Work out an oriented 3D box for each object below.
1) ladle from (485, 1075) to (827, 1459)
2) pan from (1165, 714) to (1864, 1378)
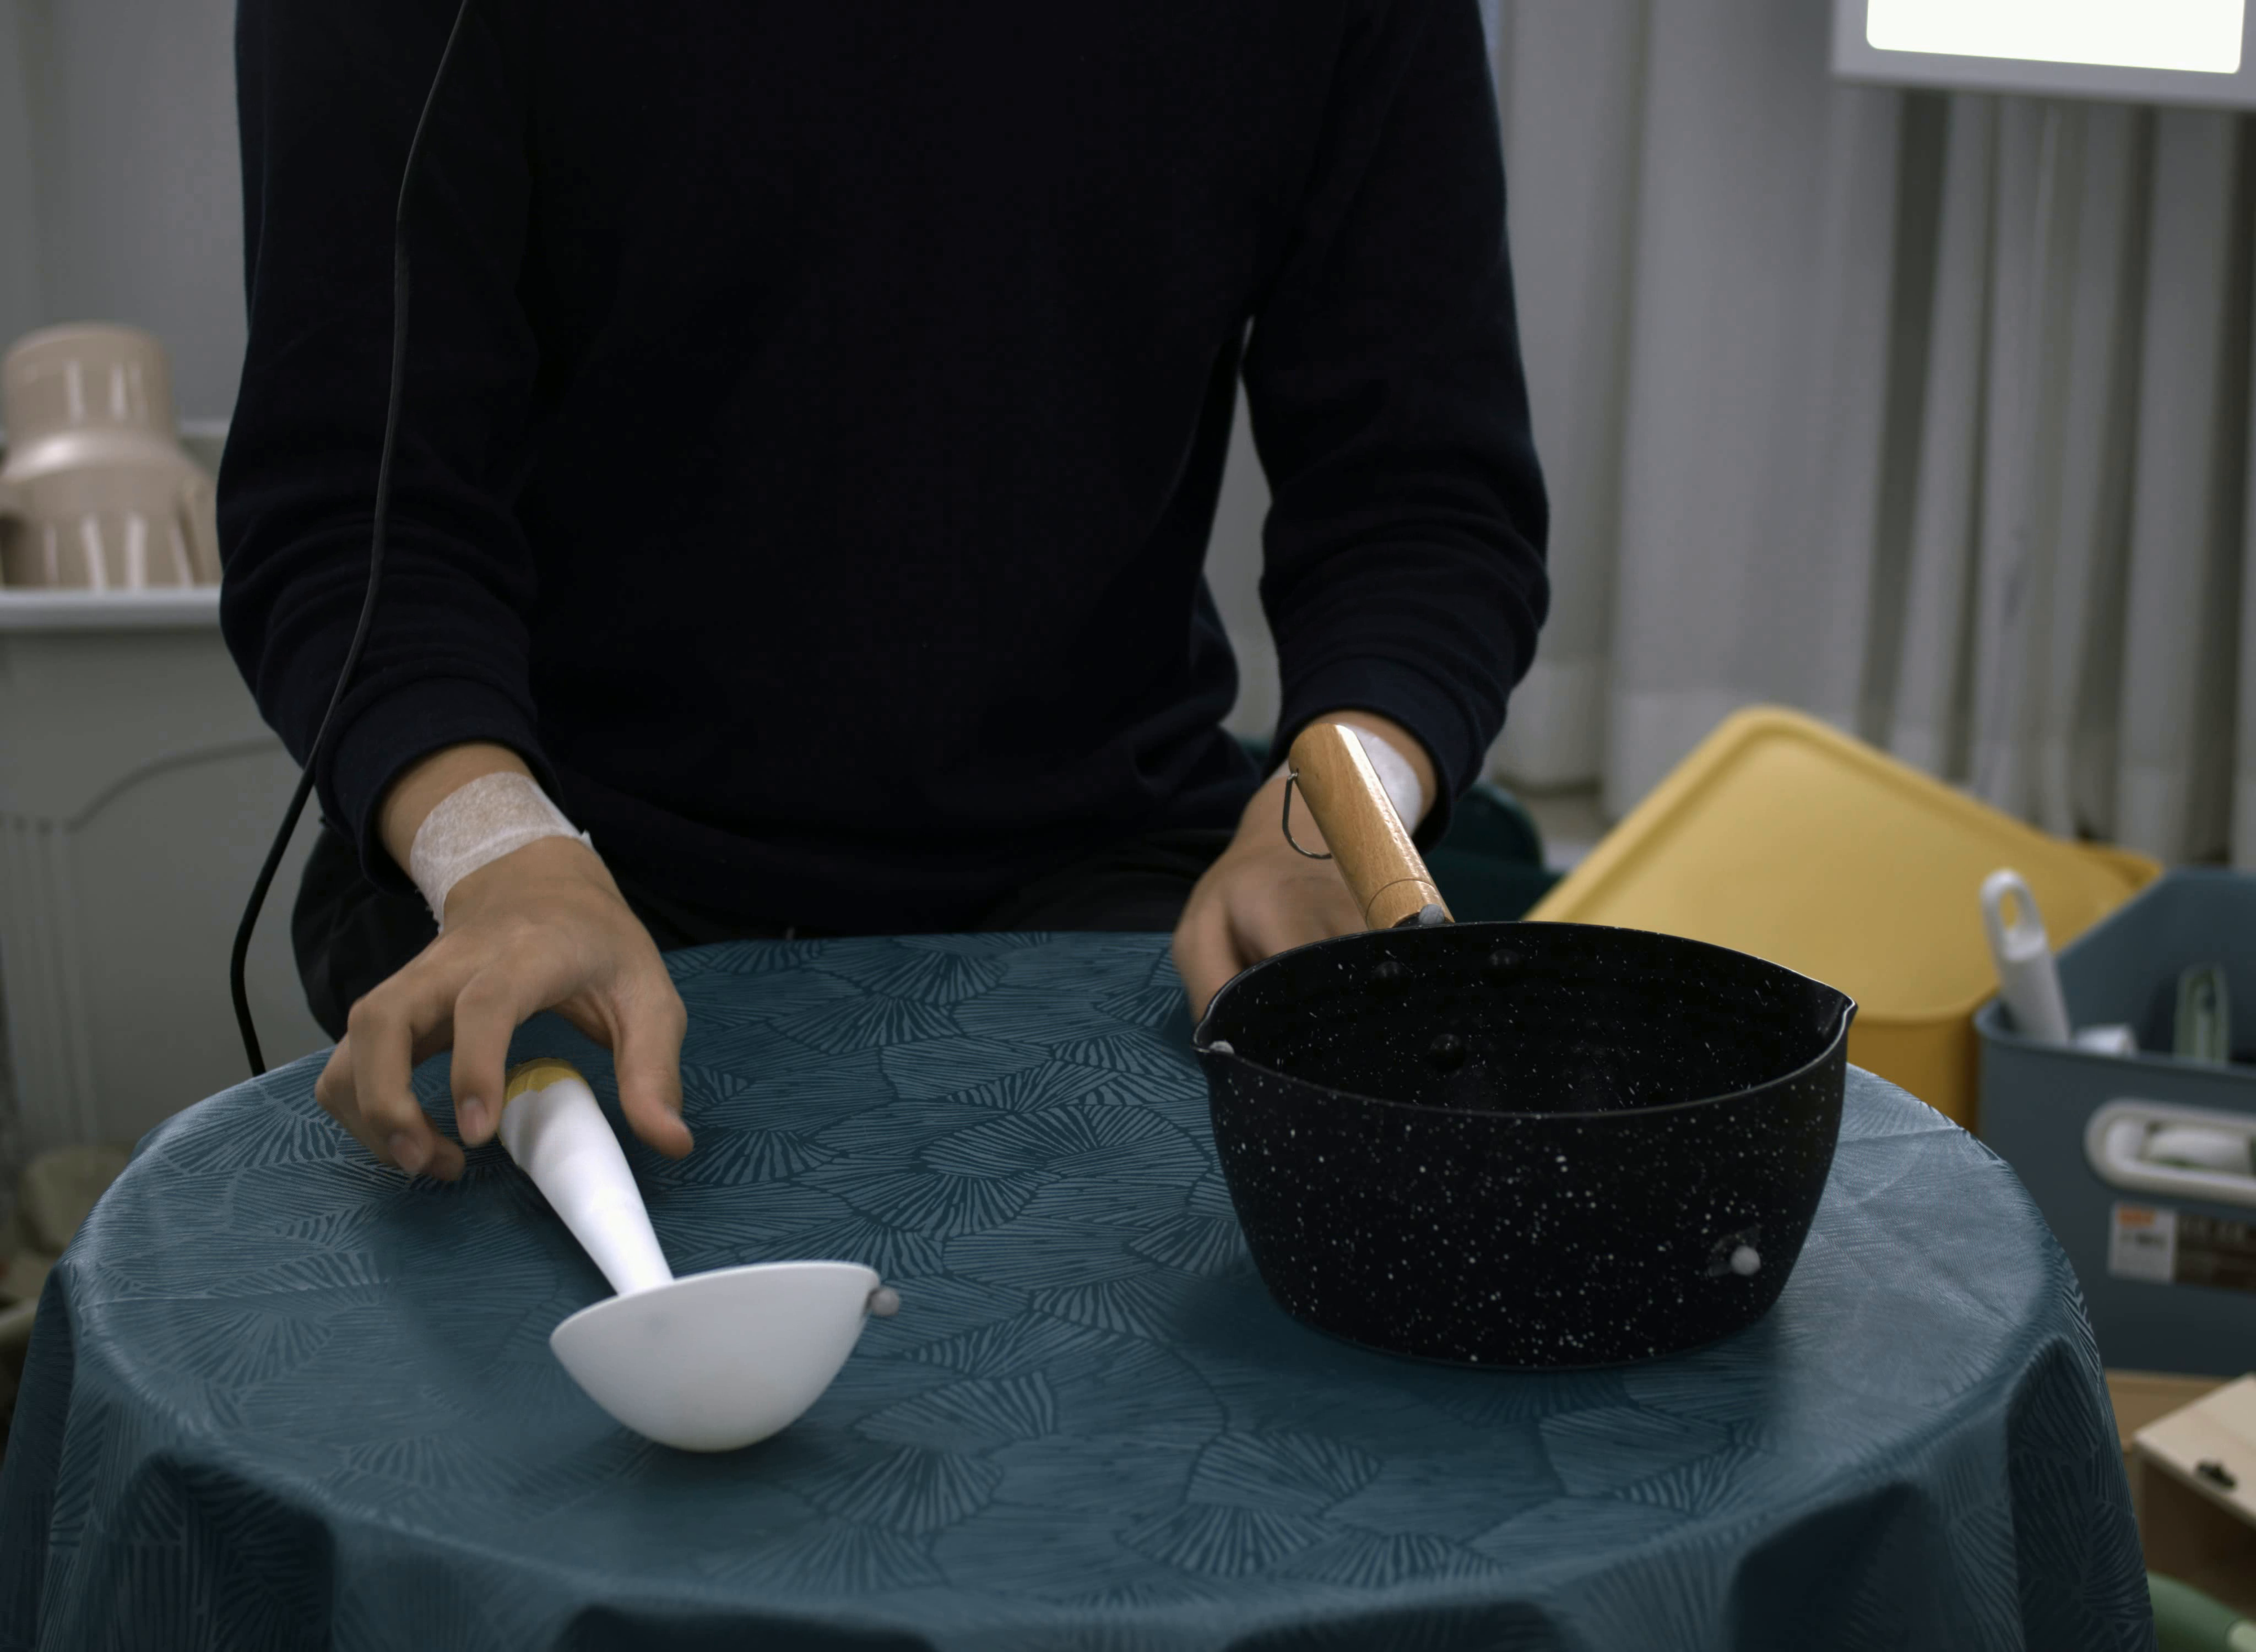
[{"bbox_3d":[-0.151,0.111,1.506,0.090,0.070,0.290,-16,18,-11],"label":"ladle"},{"bbox_3d":[0.097,0.062,1.605,0.207,0.109,0.339,-4,18,-13],"label":"pan"}]
